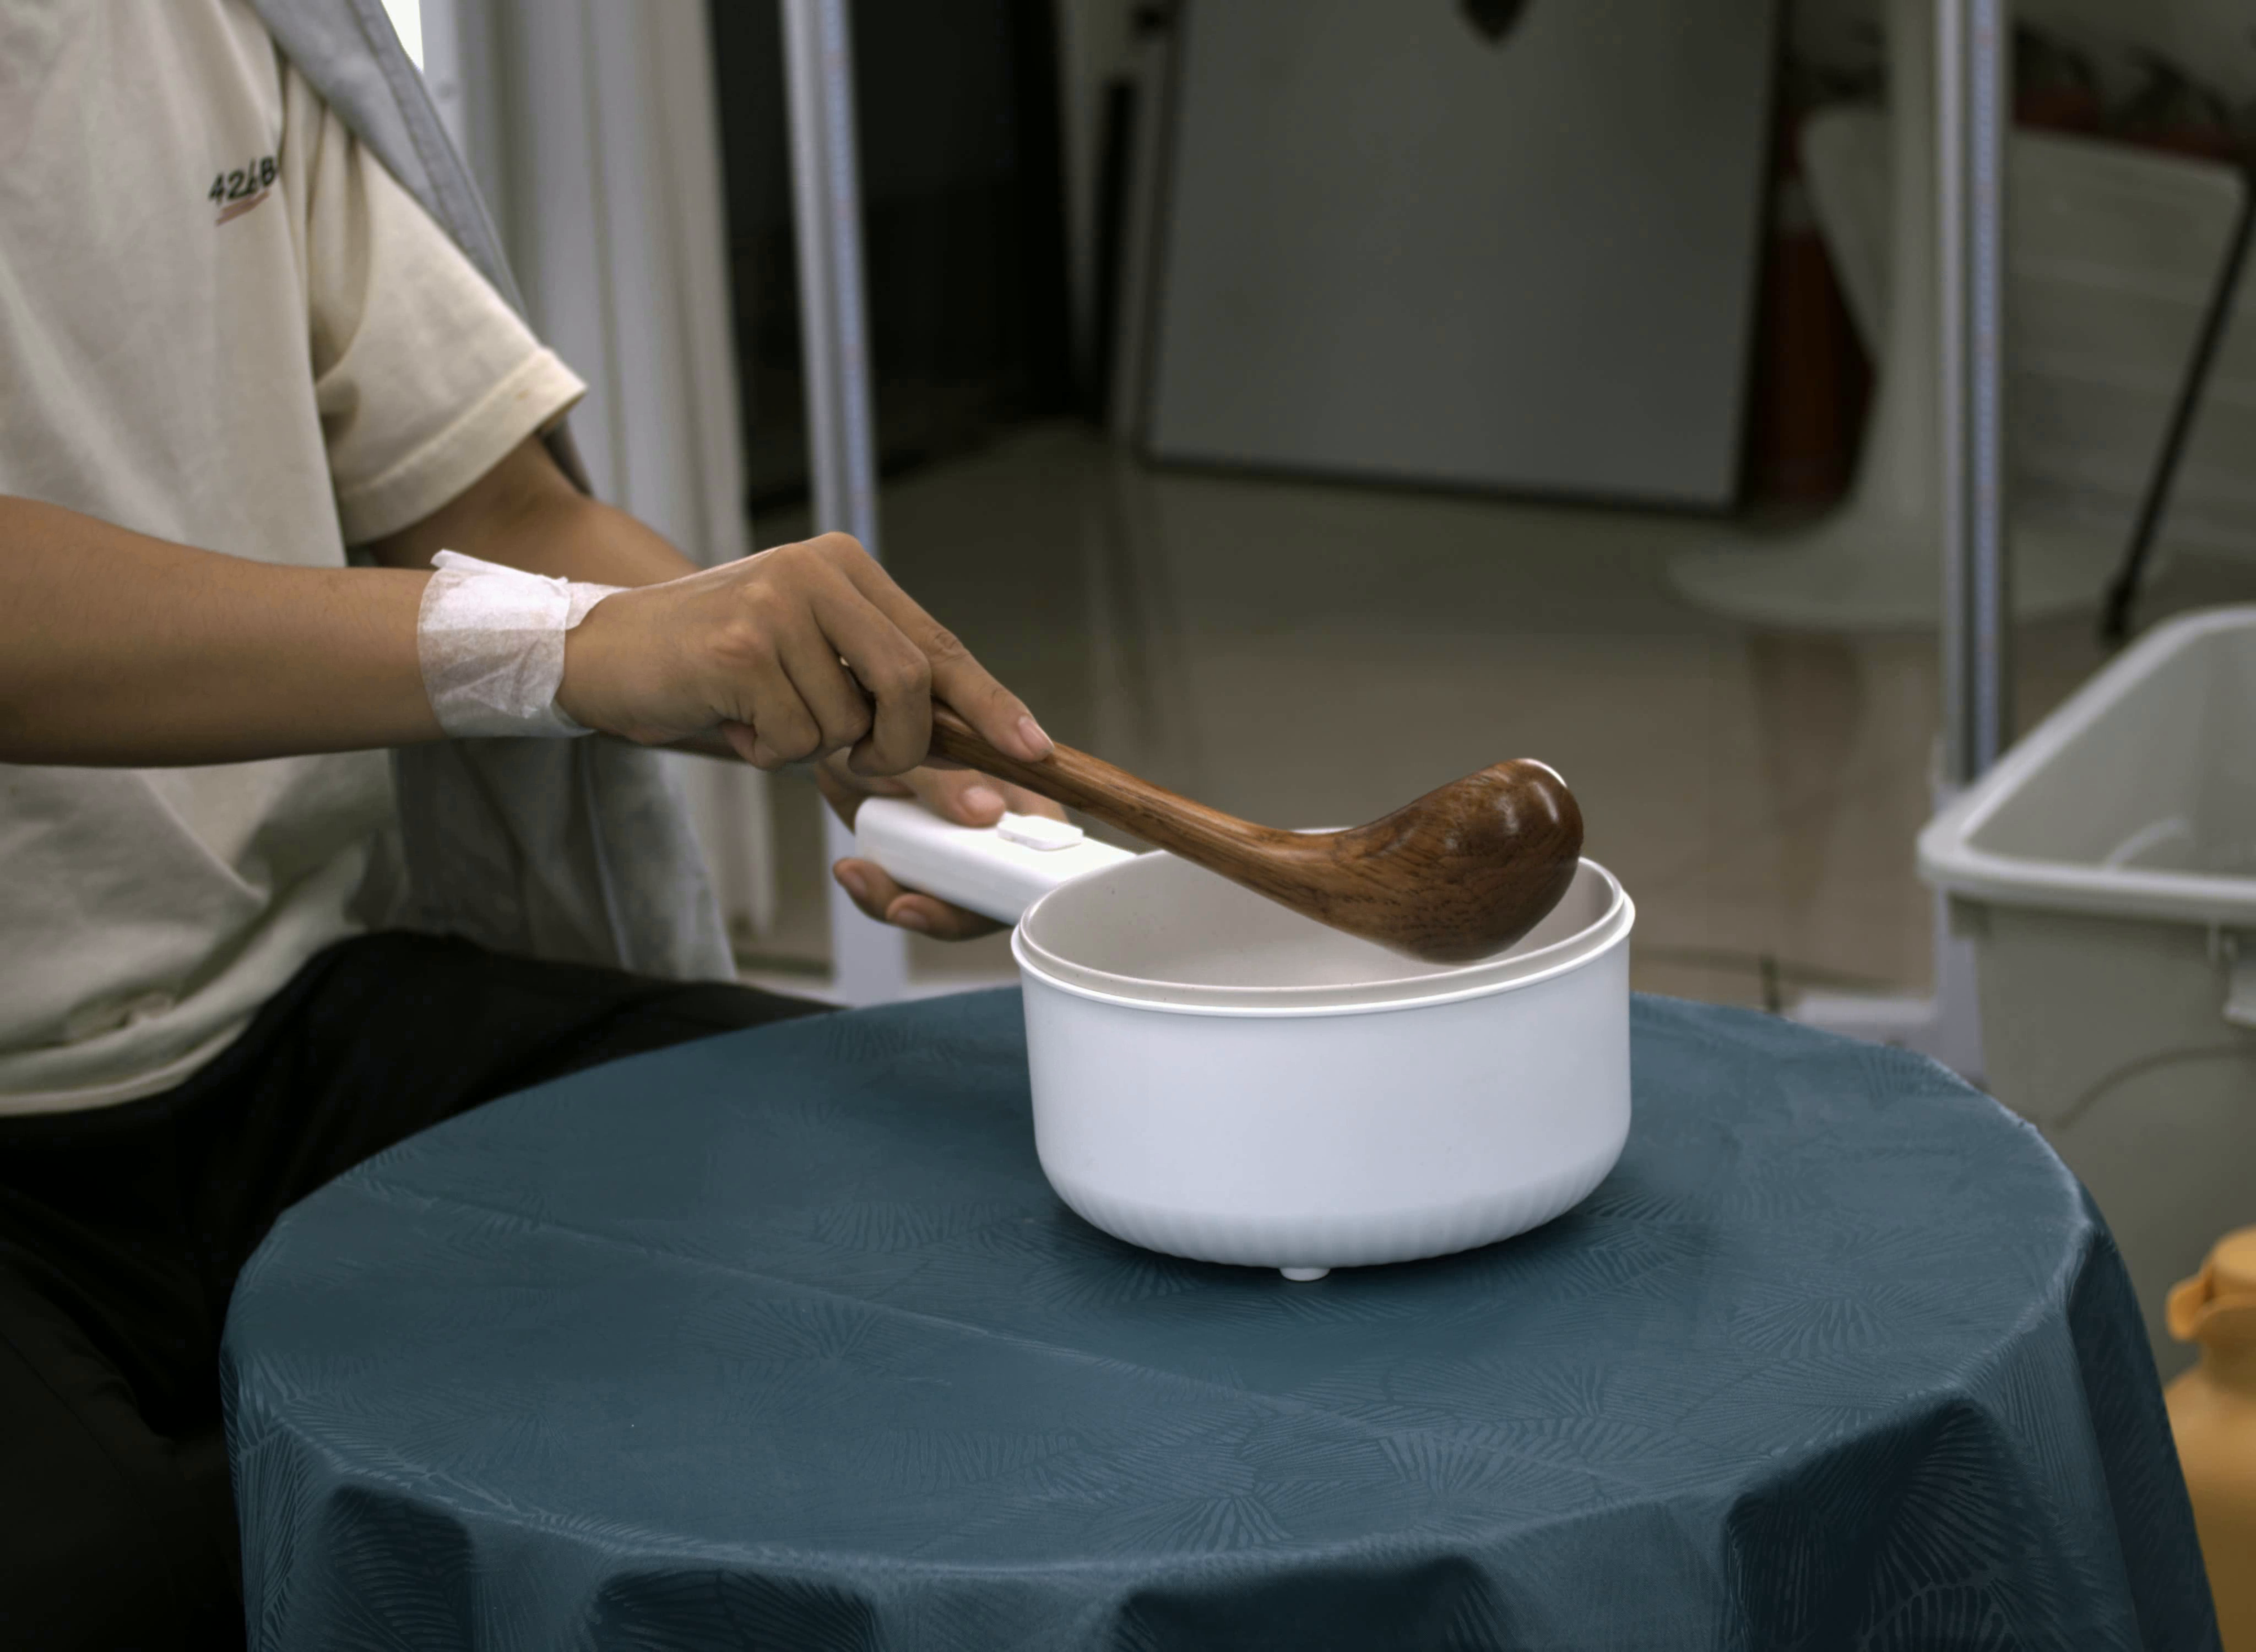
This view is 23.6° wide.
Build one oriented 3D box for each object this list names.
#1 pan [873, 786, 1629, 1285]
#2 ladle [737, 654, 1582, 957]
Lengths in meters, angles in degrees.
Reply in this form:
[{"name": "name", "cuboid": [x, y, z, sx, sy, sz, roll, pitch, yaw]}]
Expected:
[{"name": "pan", "cuboid": [0.022, 0.062, 1.801, 0.197, 0.103, 0.358, -13, 16, -31]}, {"name": "ladle", "cuboid": [0.012, -0.024, 1.730, 0.273, 0.082, 0.076, 19, 40, 14]}]
